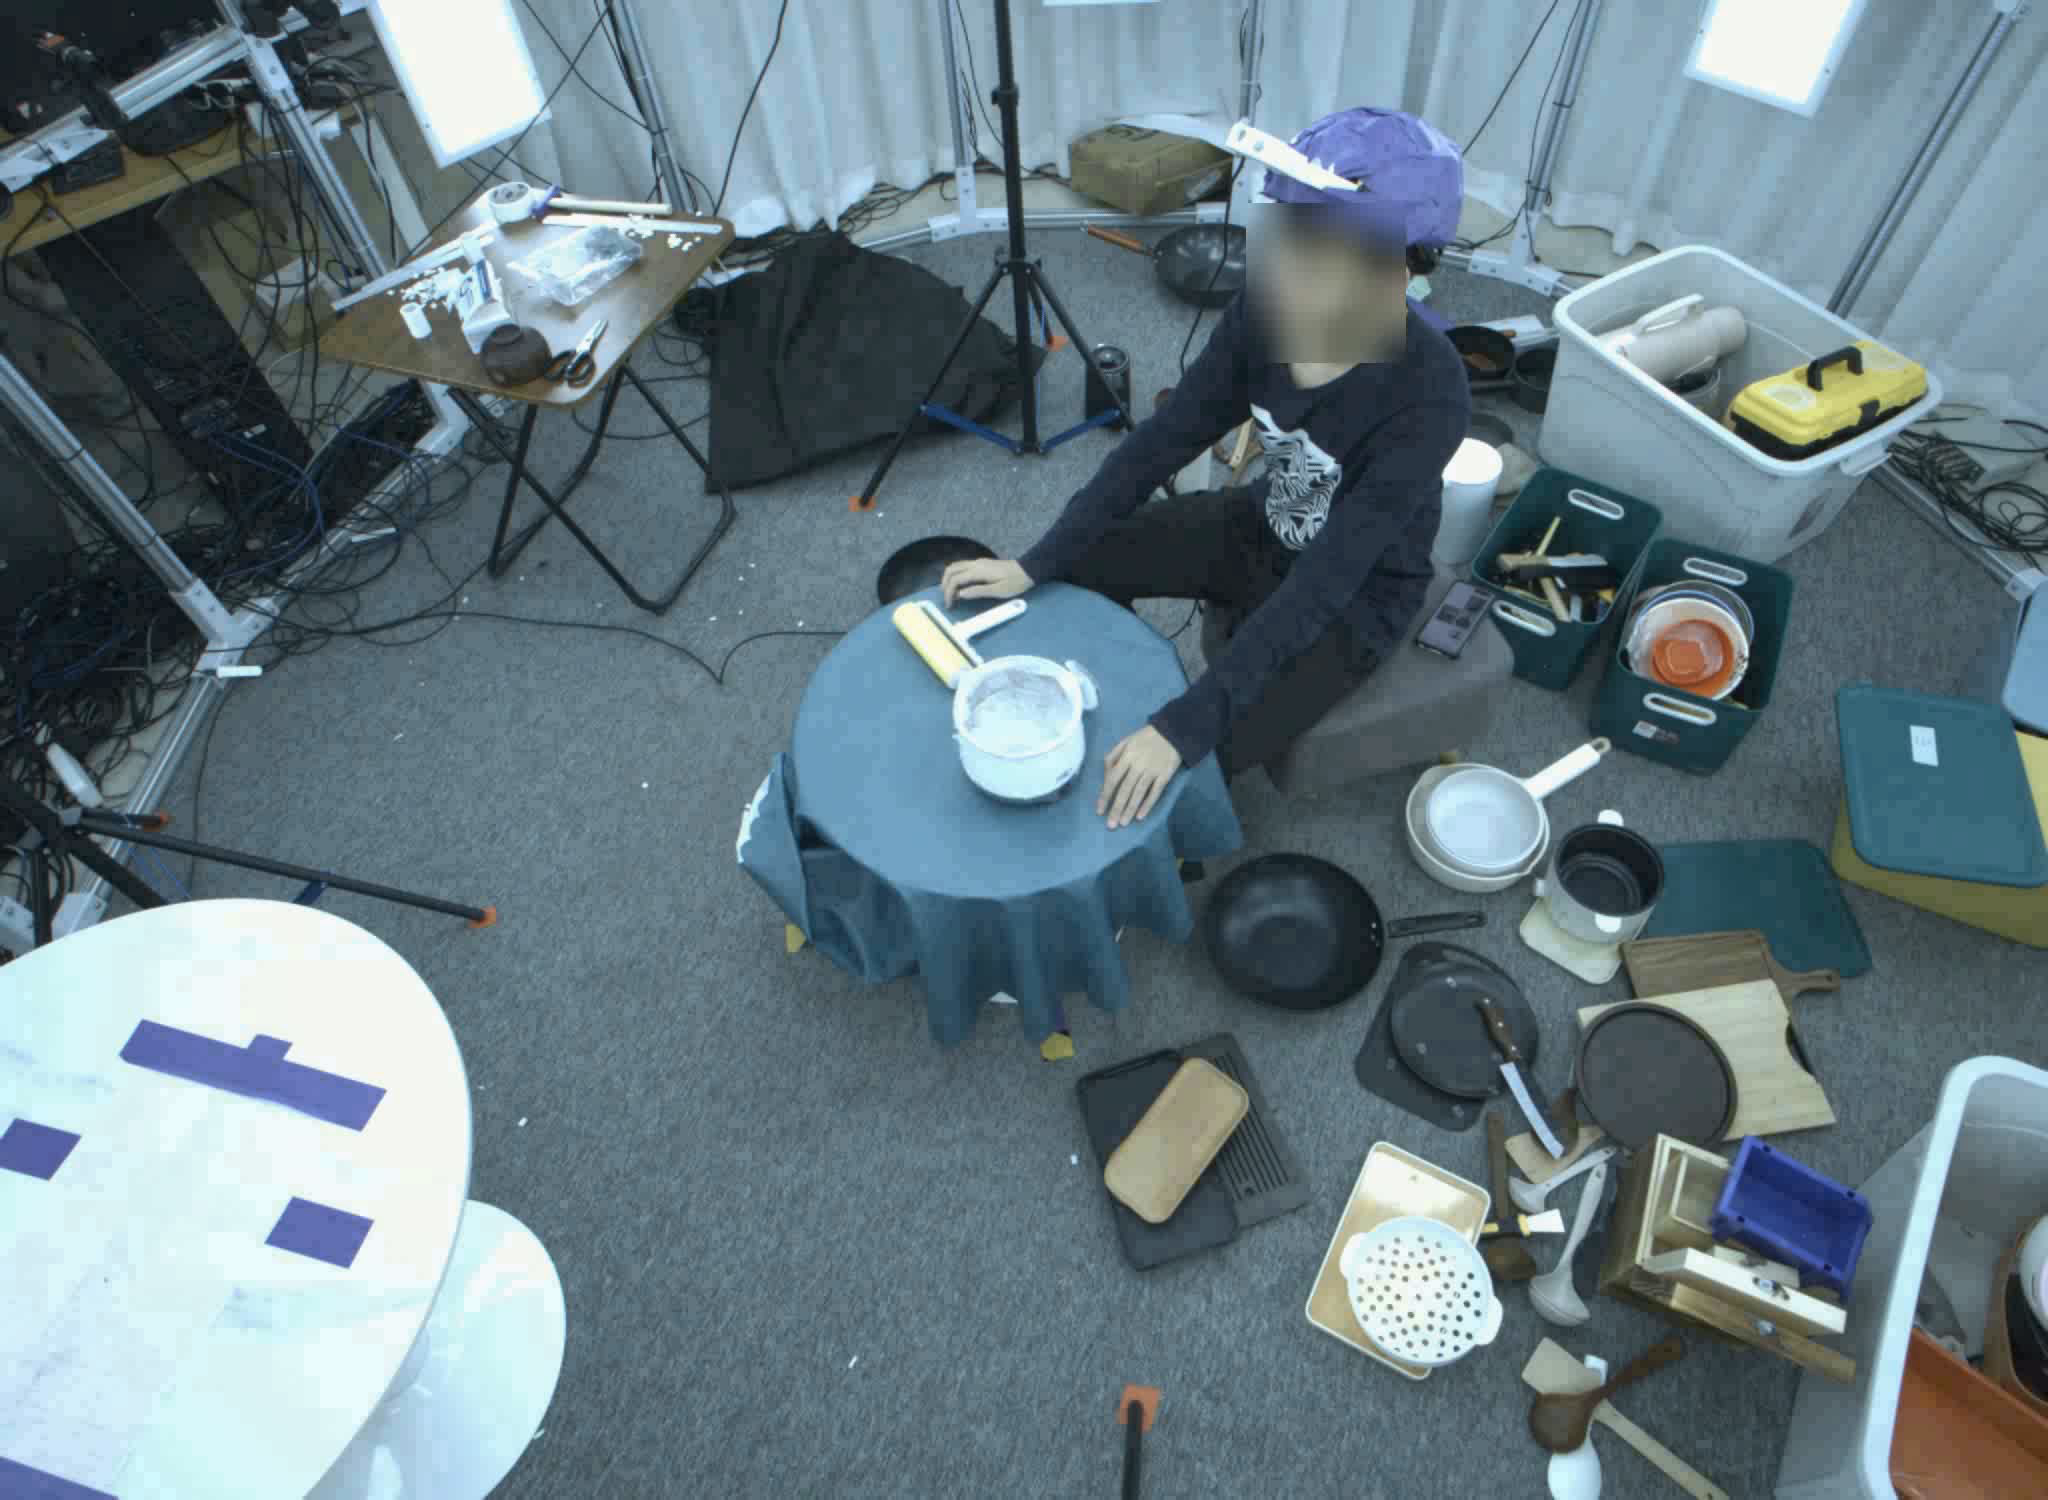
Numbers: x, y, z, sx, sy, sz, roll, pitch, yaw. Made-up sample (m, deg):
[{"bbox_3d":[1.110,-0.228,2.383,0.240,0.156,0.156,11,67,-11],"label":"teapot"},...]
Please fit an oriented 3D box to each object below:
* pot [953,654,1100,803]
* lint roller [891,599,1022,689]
[{"bbox_3d":[0.015,-0.042,1.737,0.175,0.138,0.235,39,65,24],"label":"pot"},{"bbox_3d":[-0.085,-0.197,1.909,0.193,0.052,0.171,-32,61,-18],"label":"lint roller"}]
